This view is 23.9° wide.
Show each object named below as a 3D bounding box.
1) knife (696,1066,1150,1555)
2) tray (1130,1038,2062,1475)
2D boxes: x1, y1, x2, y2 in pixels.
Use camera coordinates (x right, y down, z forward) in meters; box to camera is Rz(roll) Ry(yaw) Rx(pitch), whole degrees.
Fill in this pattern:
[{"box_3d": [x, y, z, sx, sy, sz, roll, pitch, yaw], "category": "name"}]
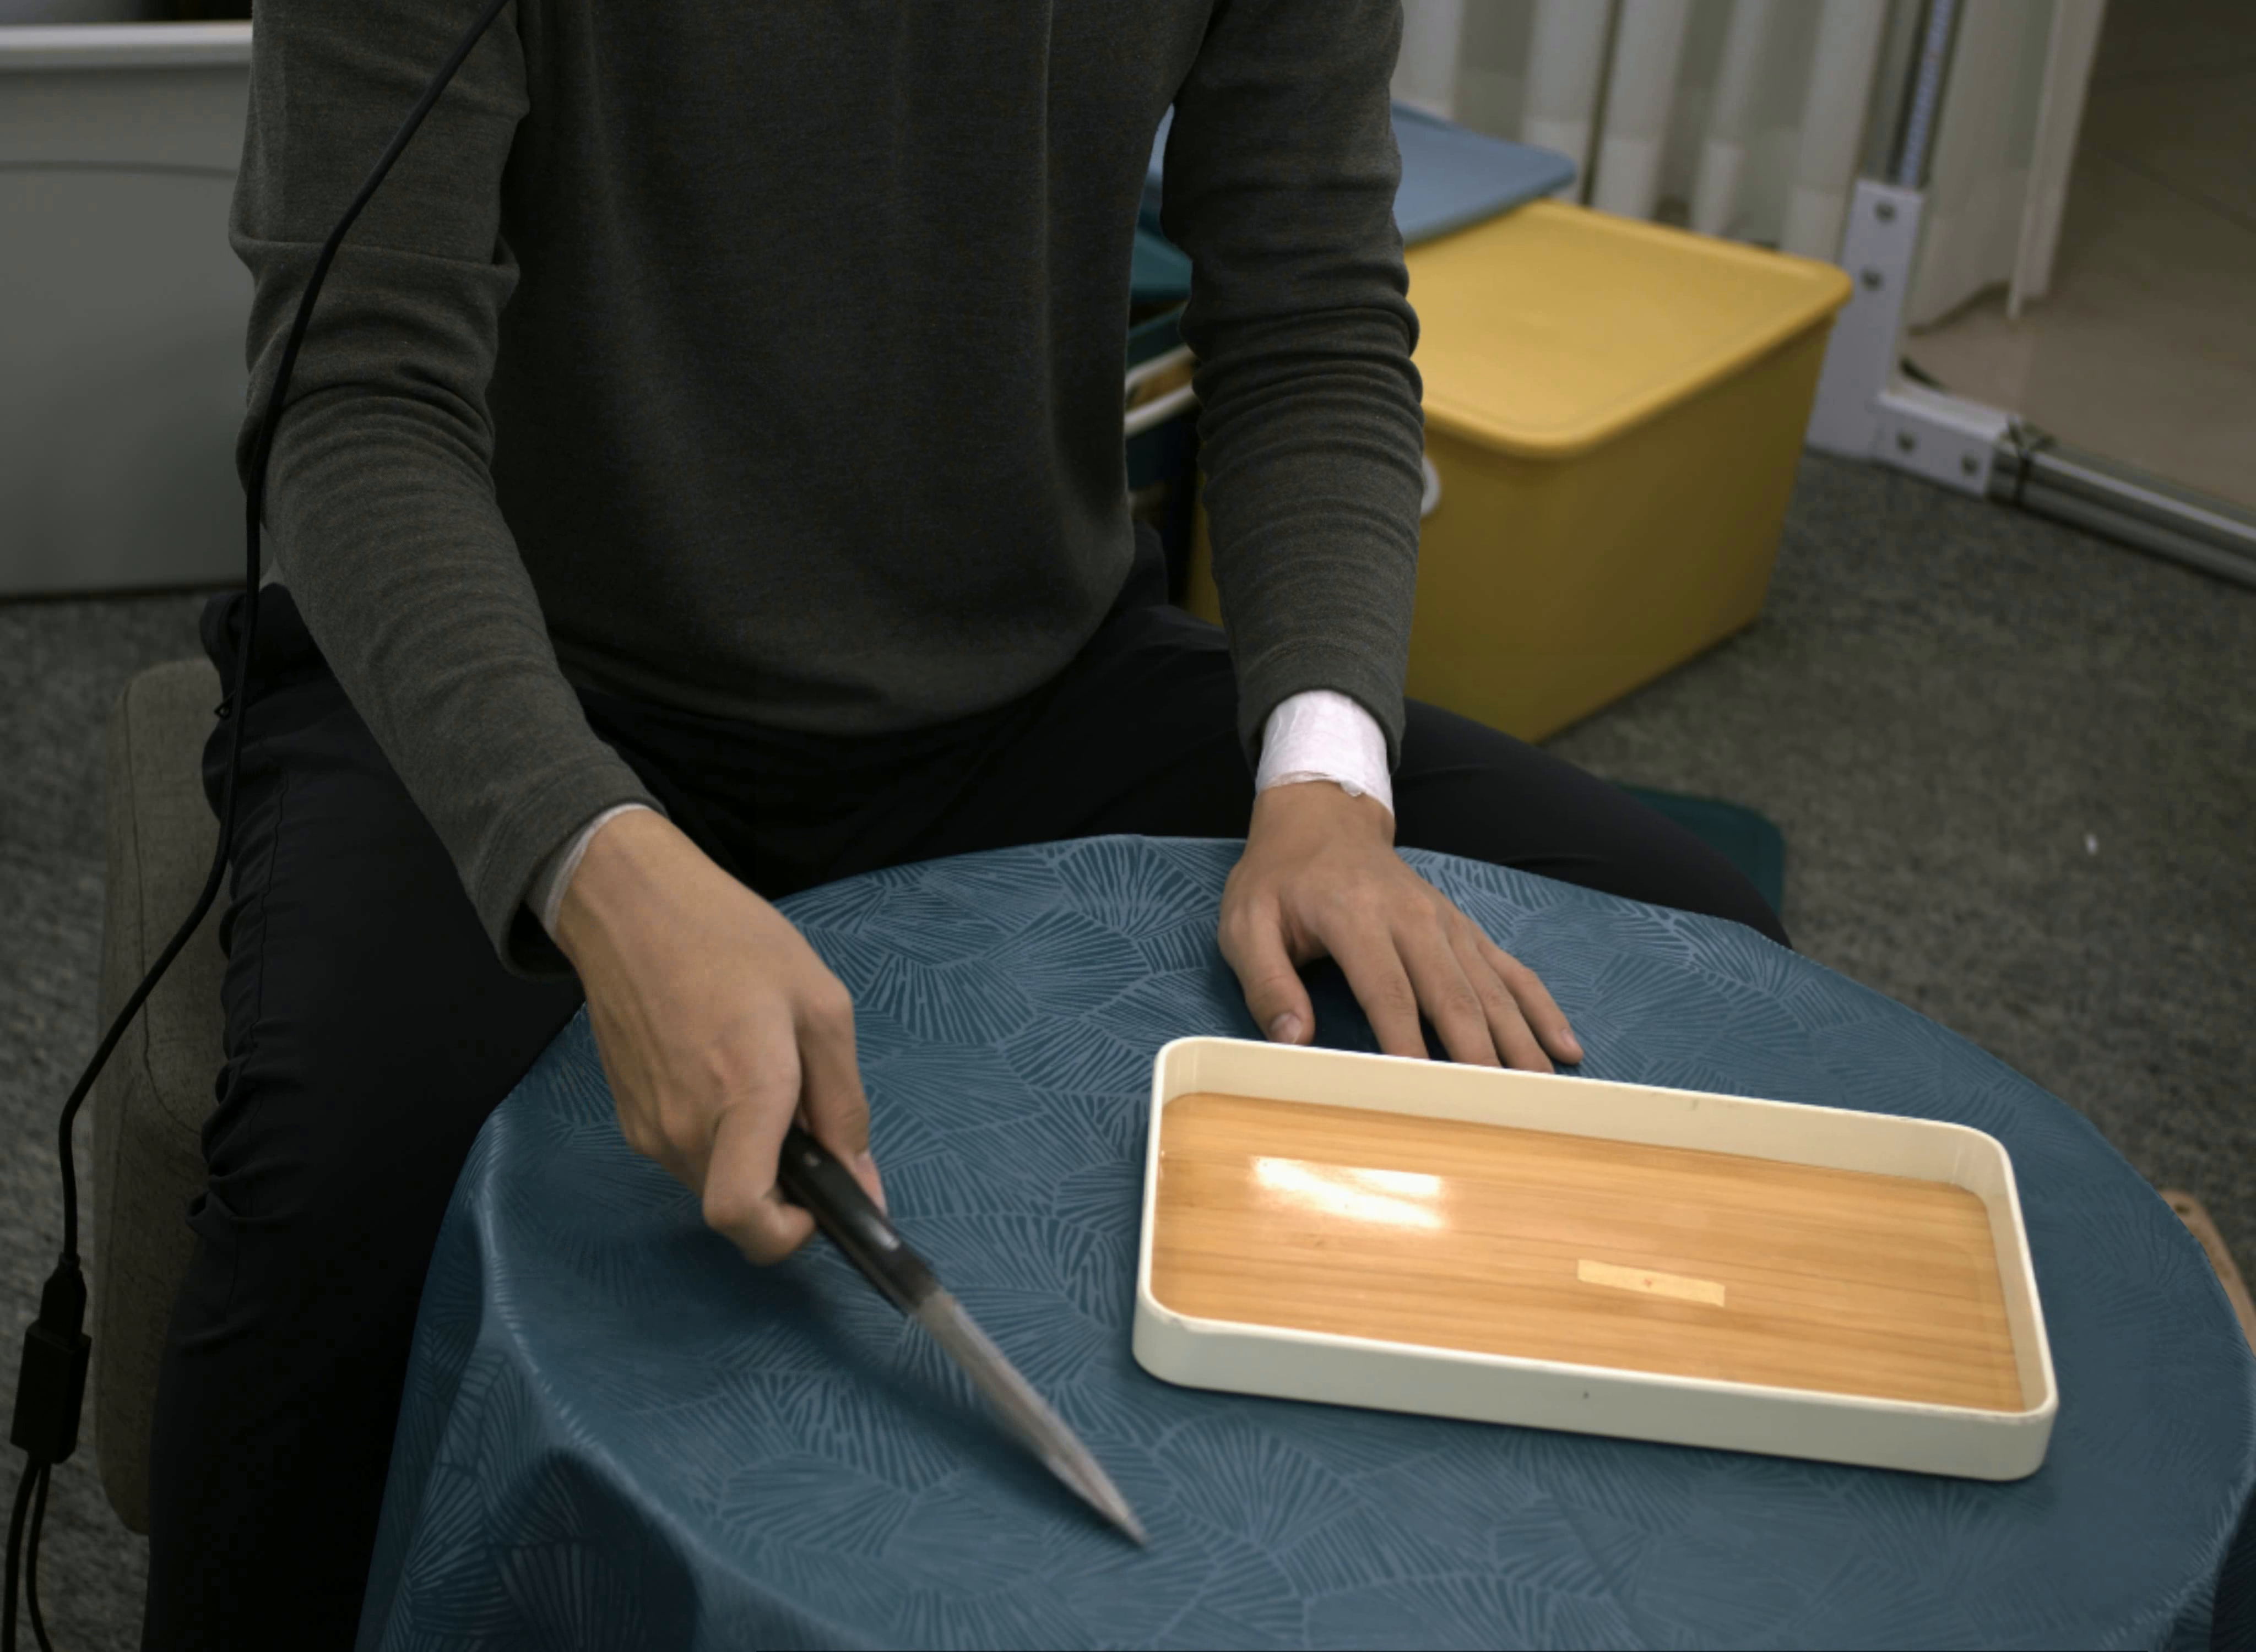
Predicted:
[{"box_3d": [-0.068, 0.152, 1.679, 0.024, 0.016, 0.240, -9, 41, -42], "category": "knife"}, {"box_3d": [0.153, 0.142, 1.776, 0.299, 0.027, 0.192, 7, 26, 0], "category": "tray"}]
